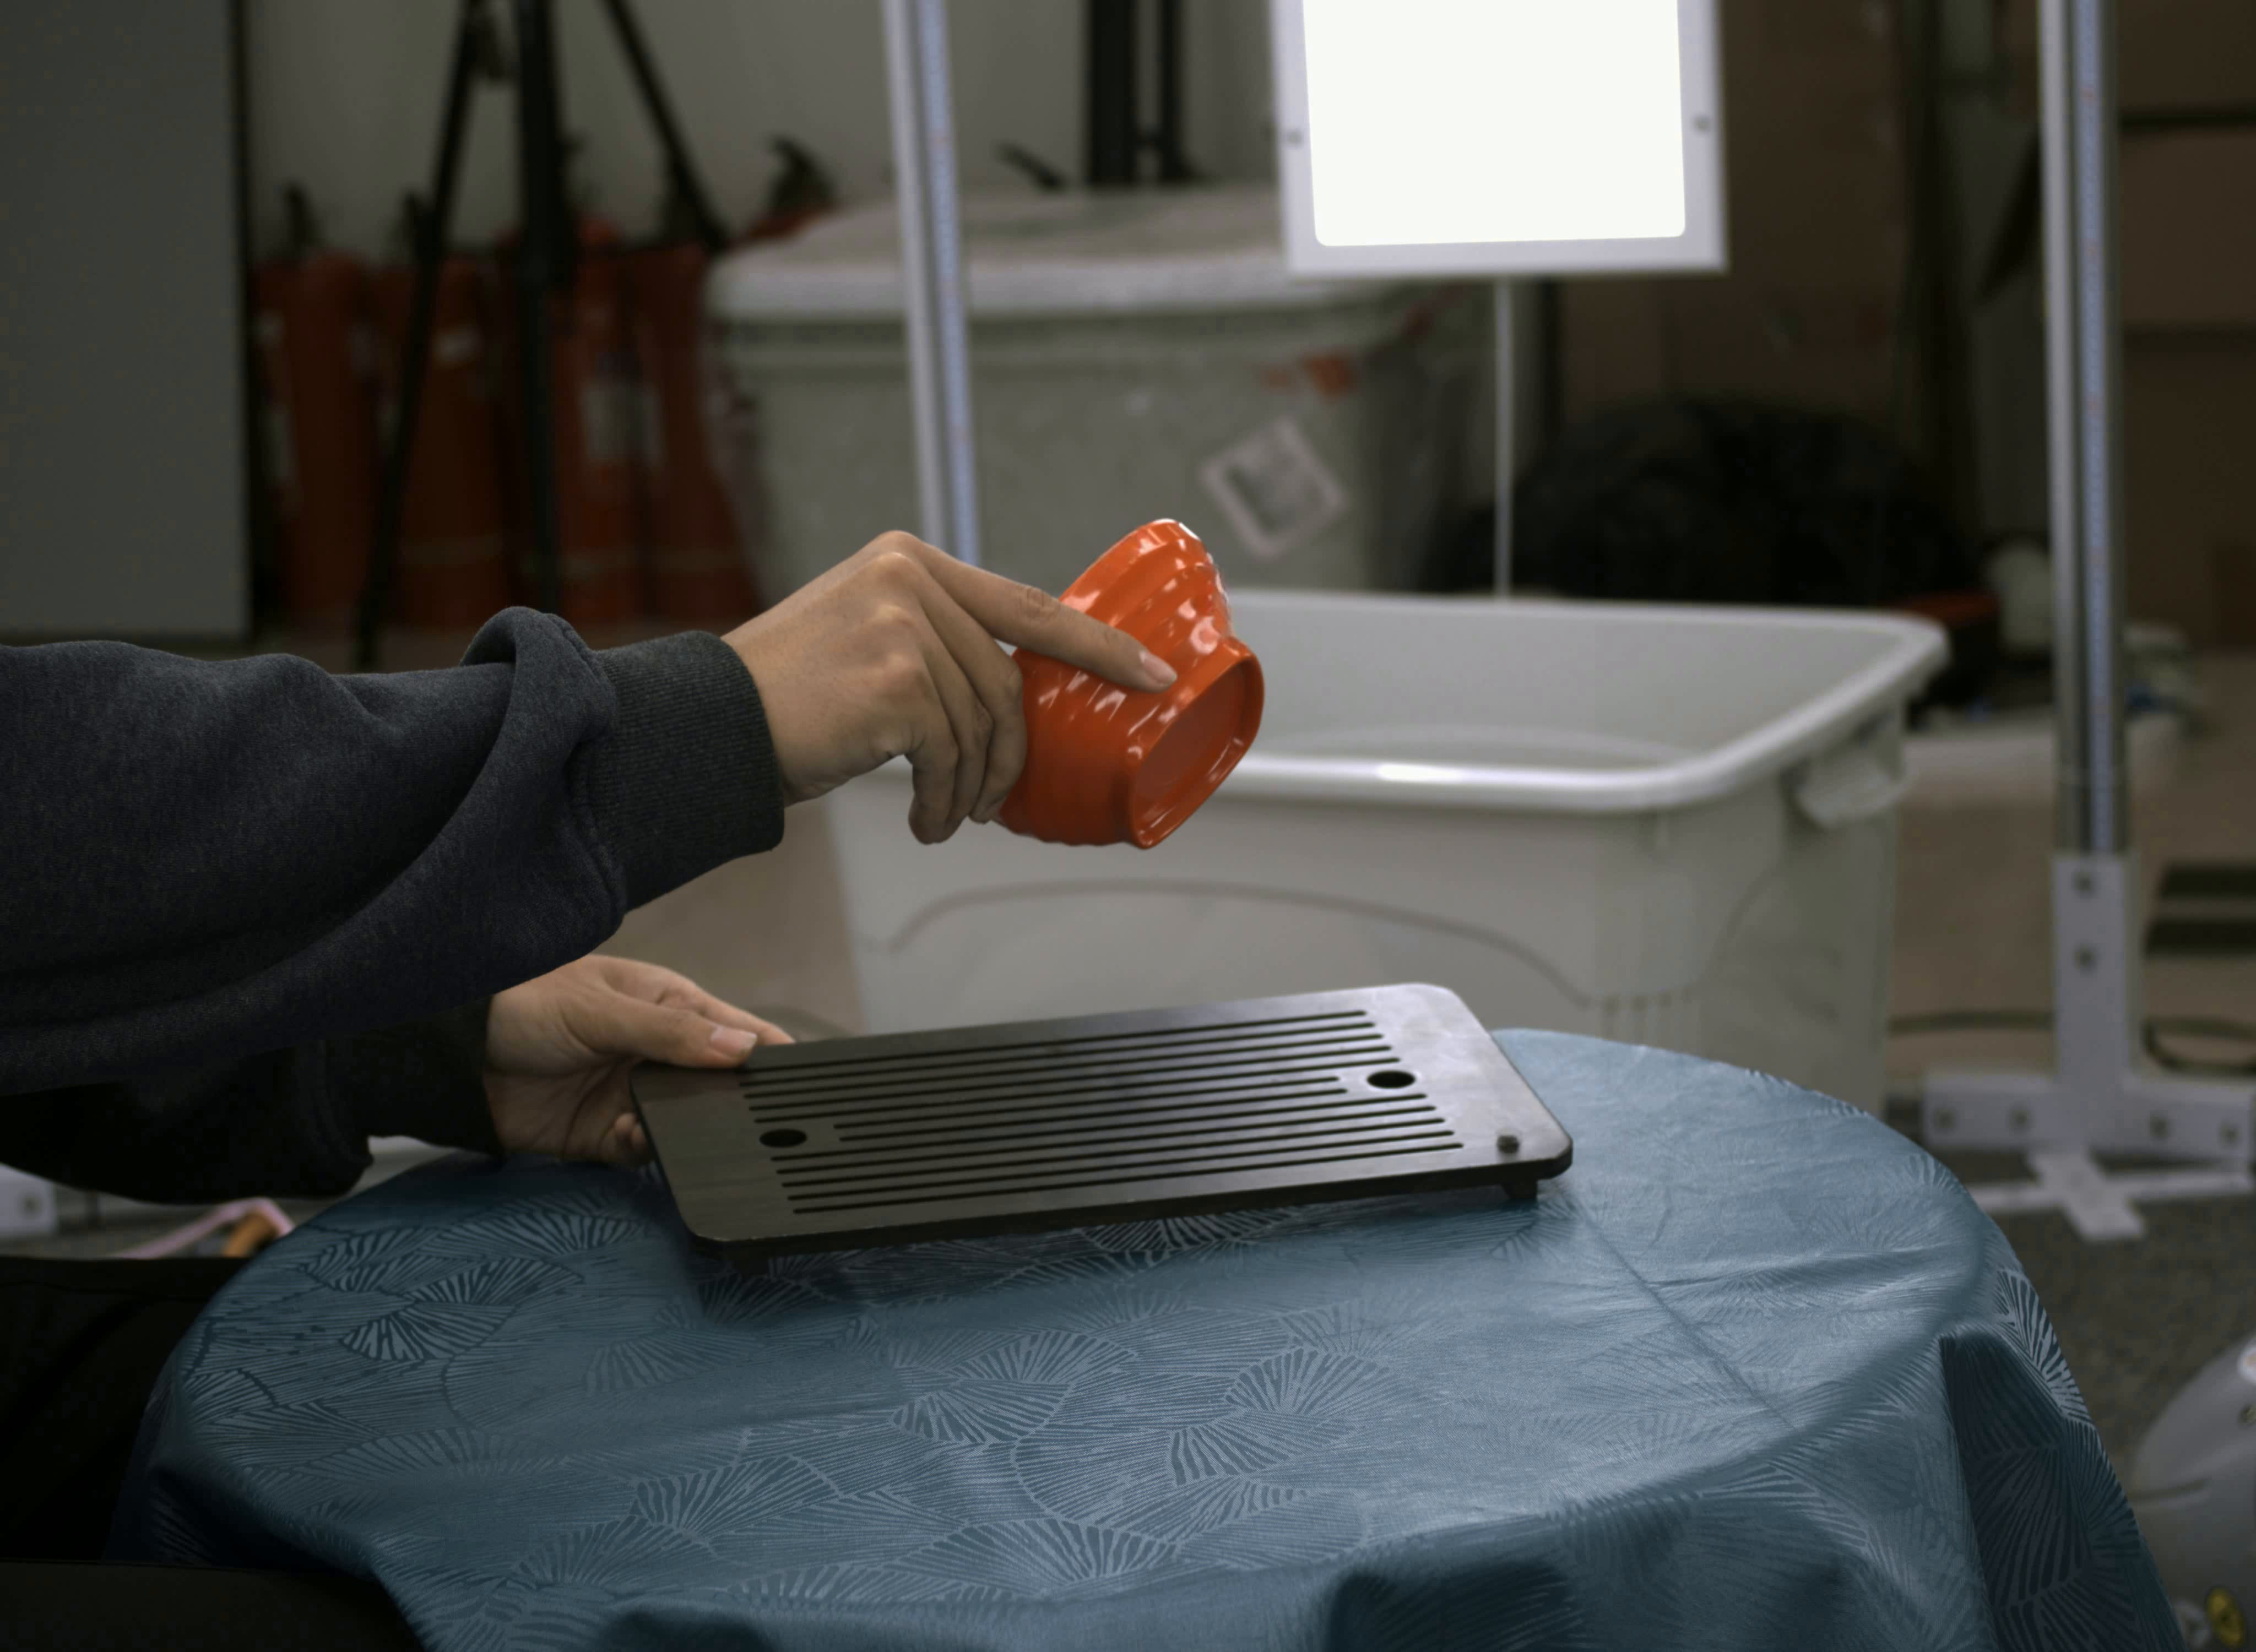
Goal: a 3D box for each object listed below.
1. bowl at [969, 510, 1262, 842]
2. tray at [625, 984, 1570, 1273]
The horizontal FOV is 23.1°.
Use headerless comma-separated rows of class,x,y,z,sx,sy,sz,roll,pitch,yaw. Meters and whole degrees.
bowl,0.003,-0.039,1.782,0.052,0.120,0.116,38,32,21
tray,-0.013,0.104,1.902,0.302,0.019,0.171,-6,20,-10
